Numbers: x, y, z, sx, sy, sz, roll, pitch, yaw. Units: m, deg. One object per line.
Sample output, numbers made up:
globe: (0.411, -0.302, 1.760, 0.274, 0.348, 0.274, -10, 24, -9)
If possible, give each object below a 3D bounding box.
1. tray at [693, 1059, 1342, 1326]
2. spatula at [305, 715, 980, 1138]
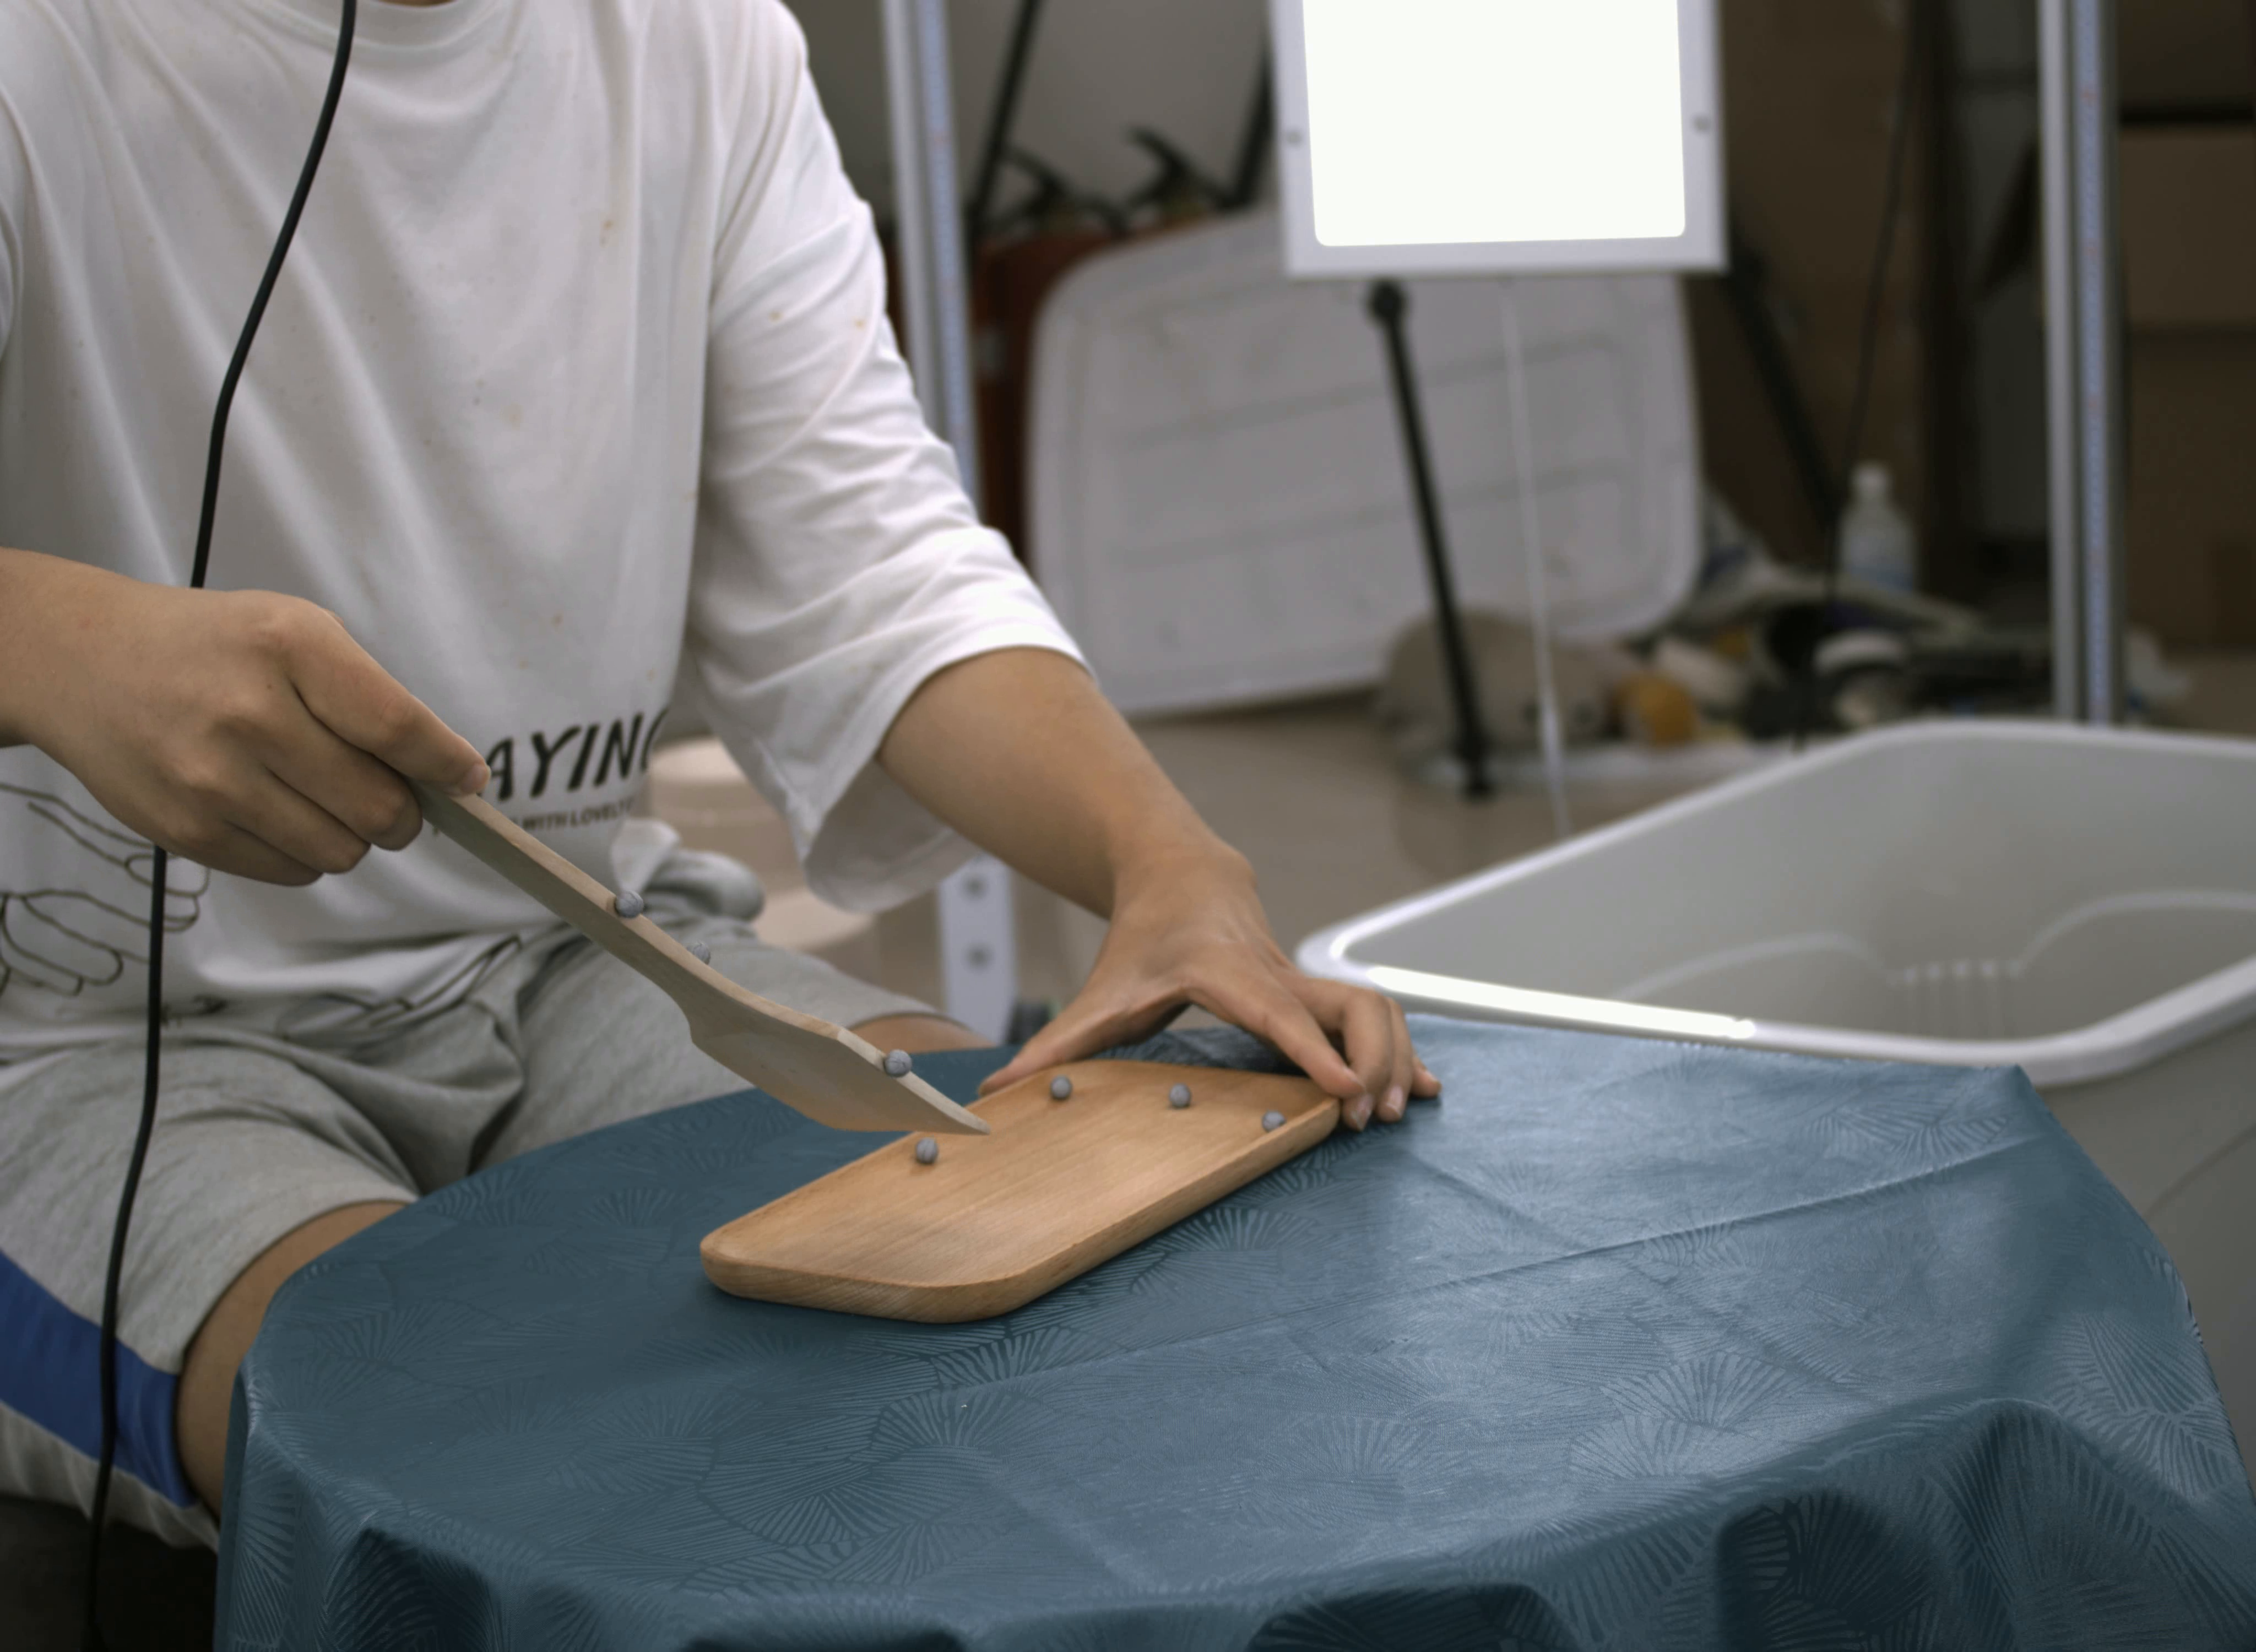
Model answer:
tray: (-0.034, 0.124, 1.893, 0.133, 0.023, 0.244, 2, 16, 36)
spatula: (-0.154, 0.037, 1.731, 0.074, 0.010, 0.288, 0, -28, 41)
